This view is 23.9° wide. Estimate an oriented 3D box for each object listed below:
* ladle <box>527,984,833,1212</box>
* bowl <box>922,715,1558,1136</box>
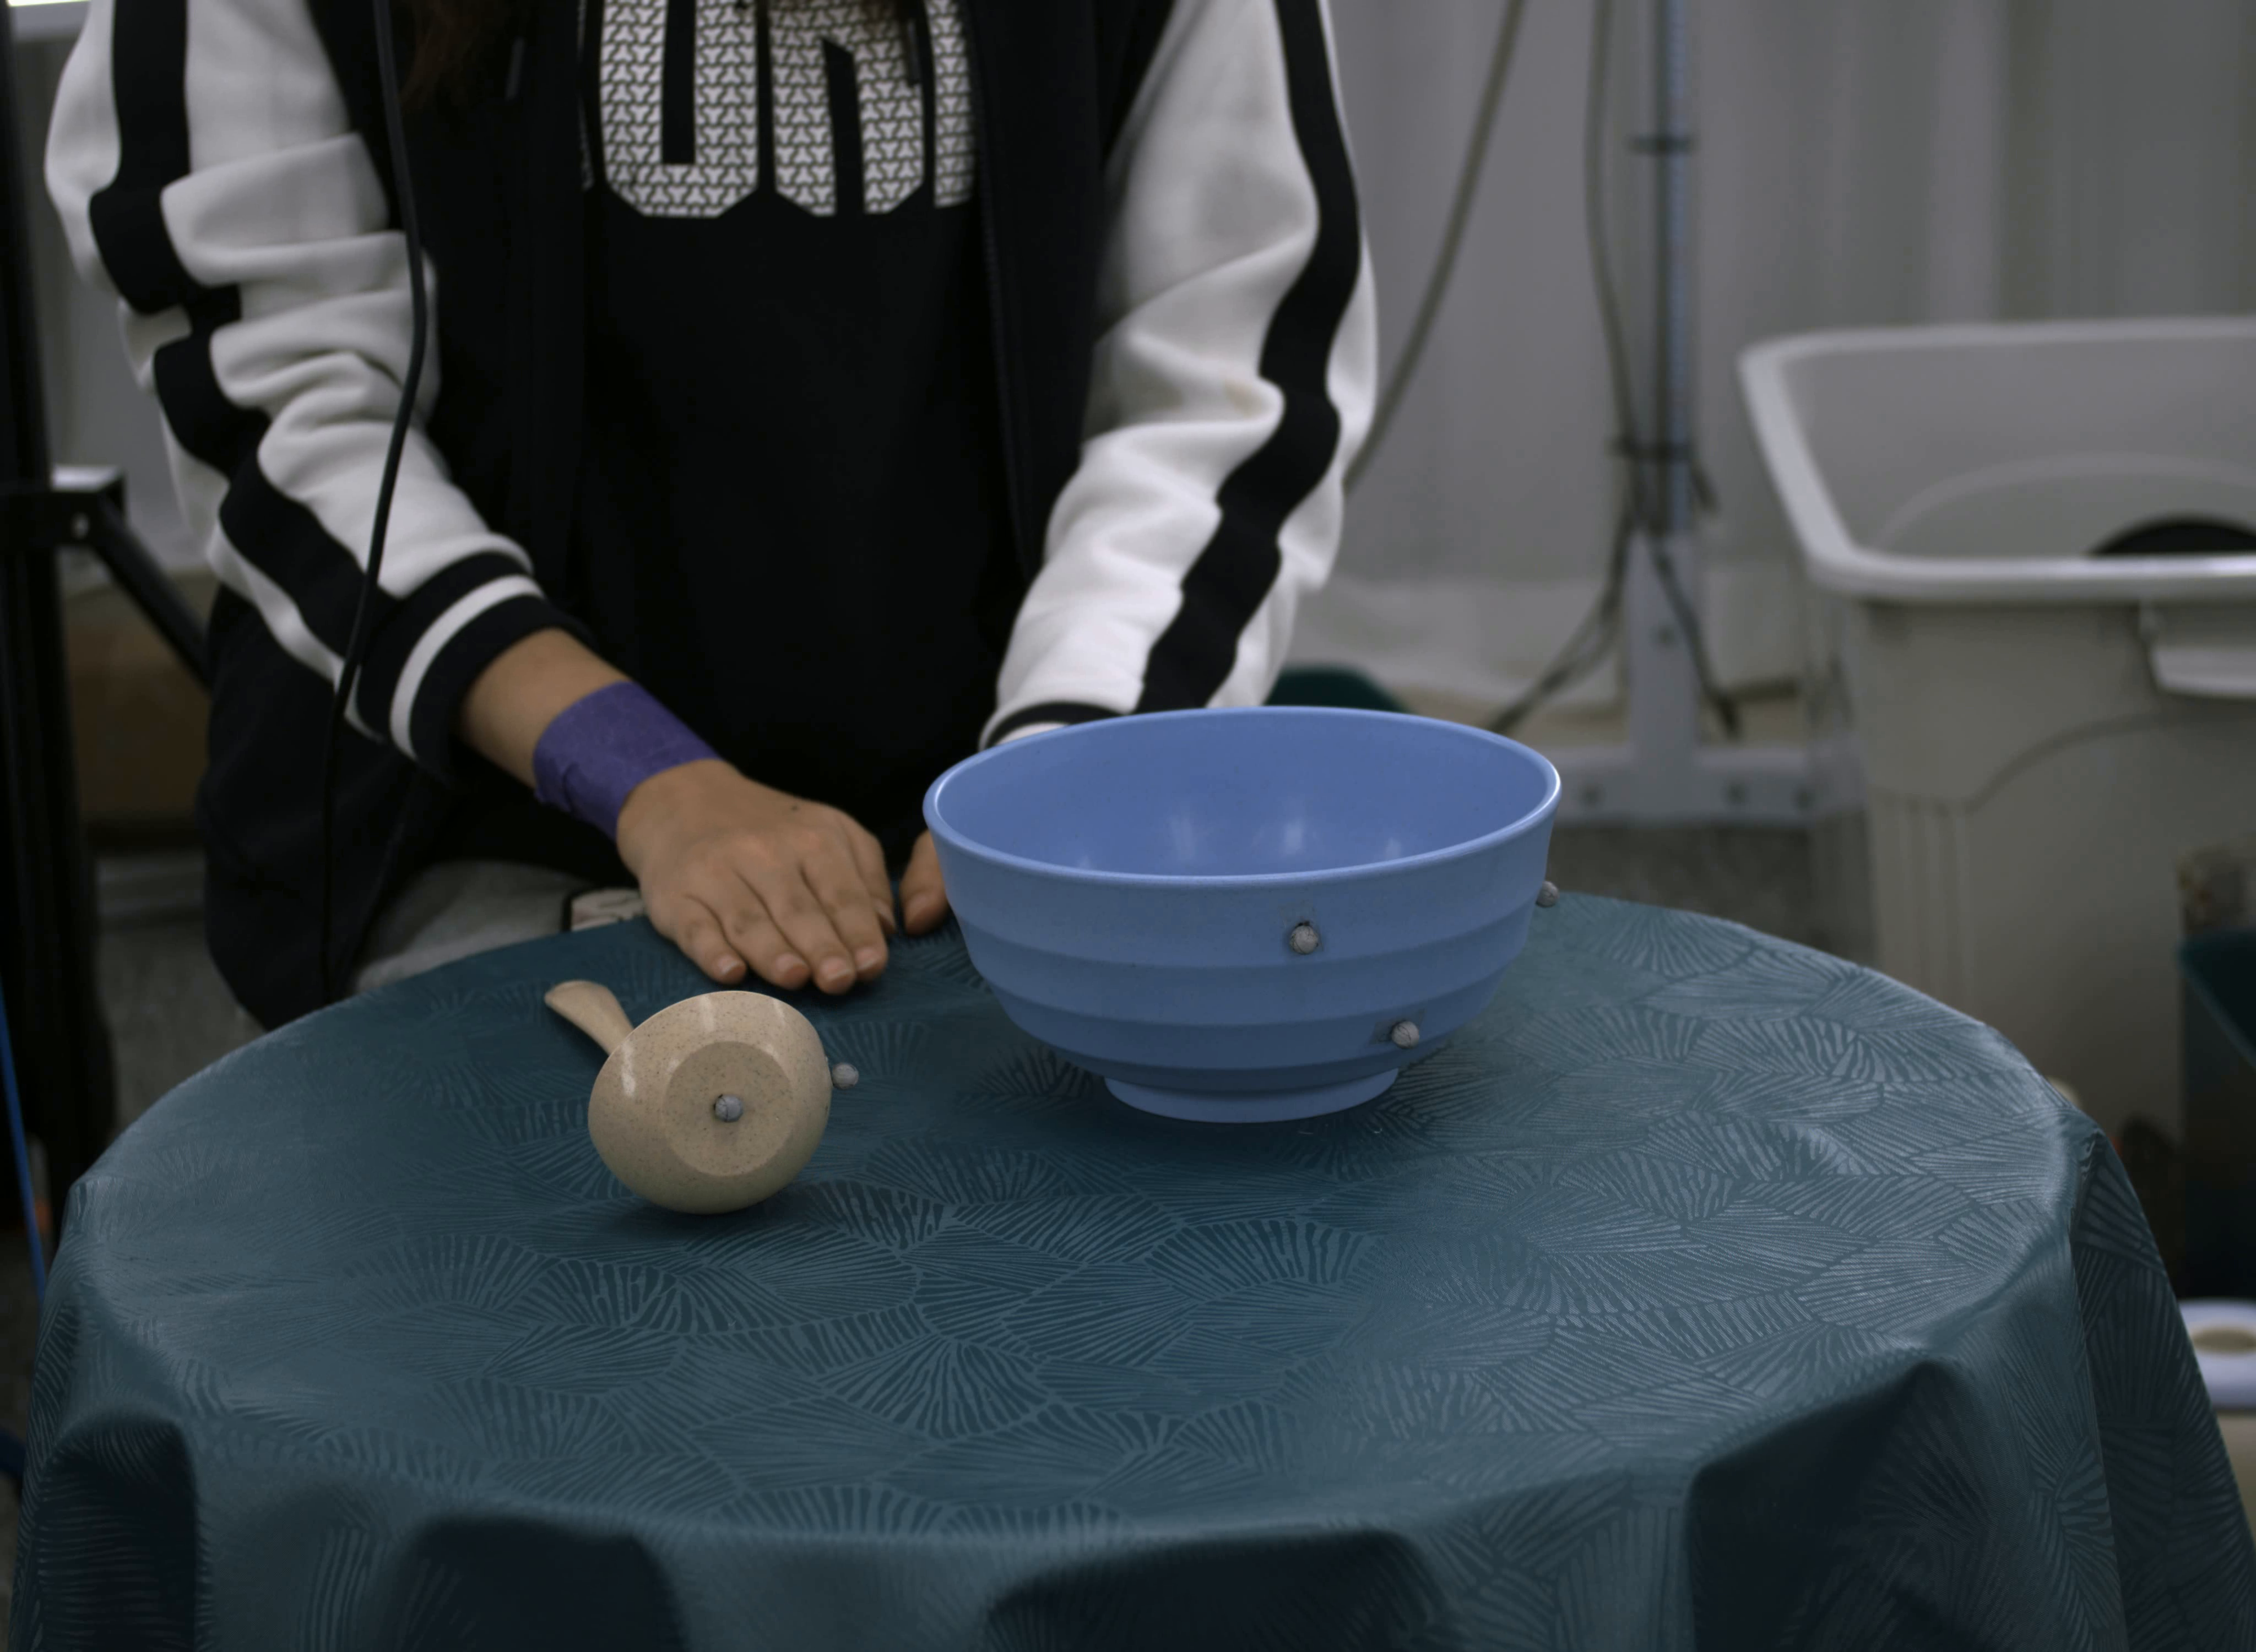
[{"bbox_3d":[-0.154,0.054,1.641,0.071,0.072,0.259,-14,18,-16],"label":"ladle"},{"bbox_3d":[0.037,0.037,1.644,0.195,0.095,0.197,-4,15,0],"label":"bowl"}]
